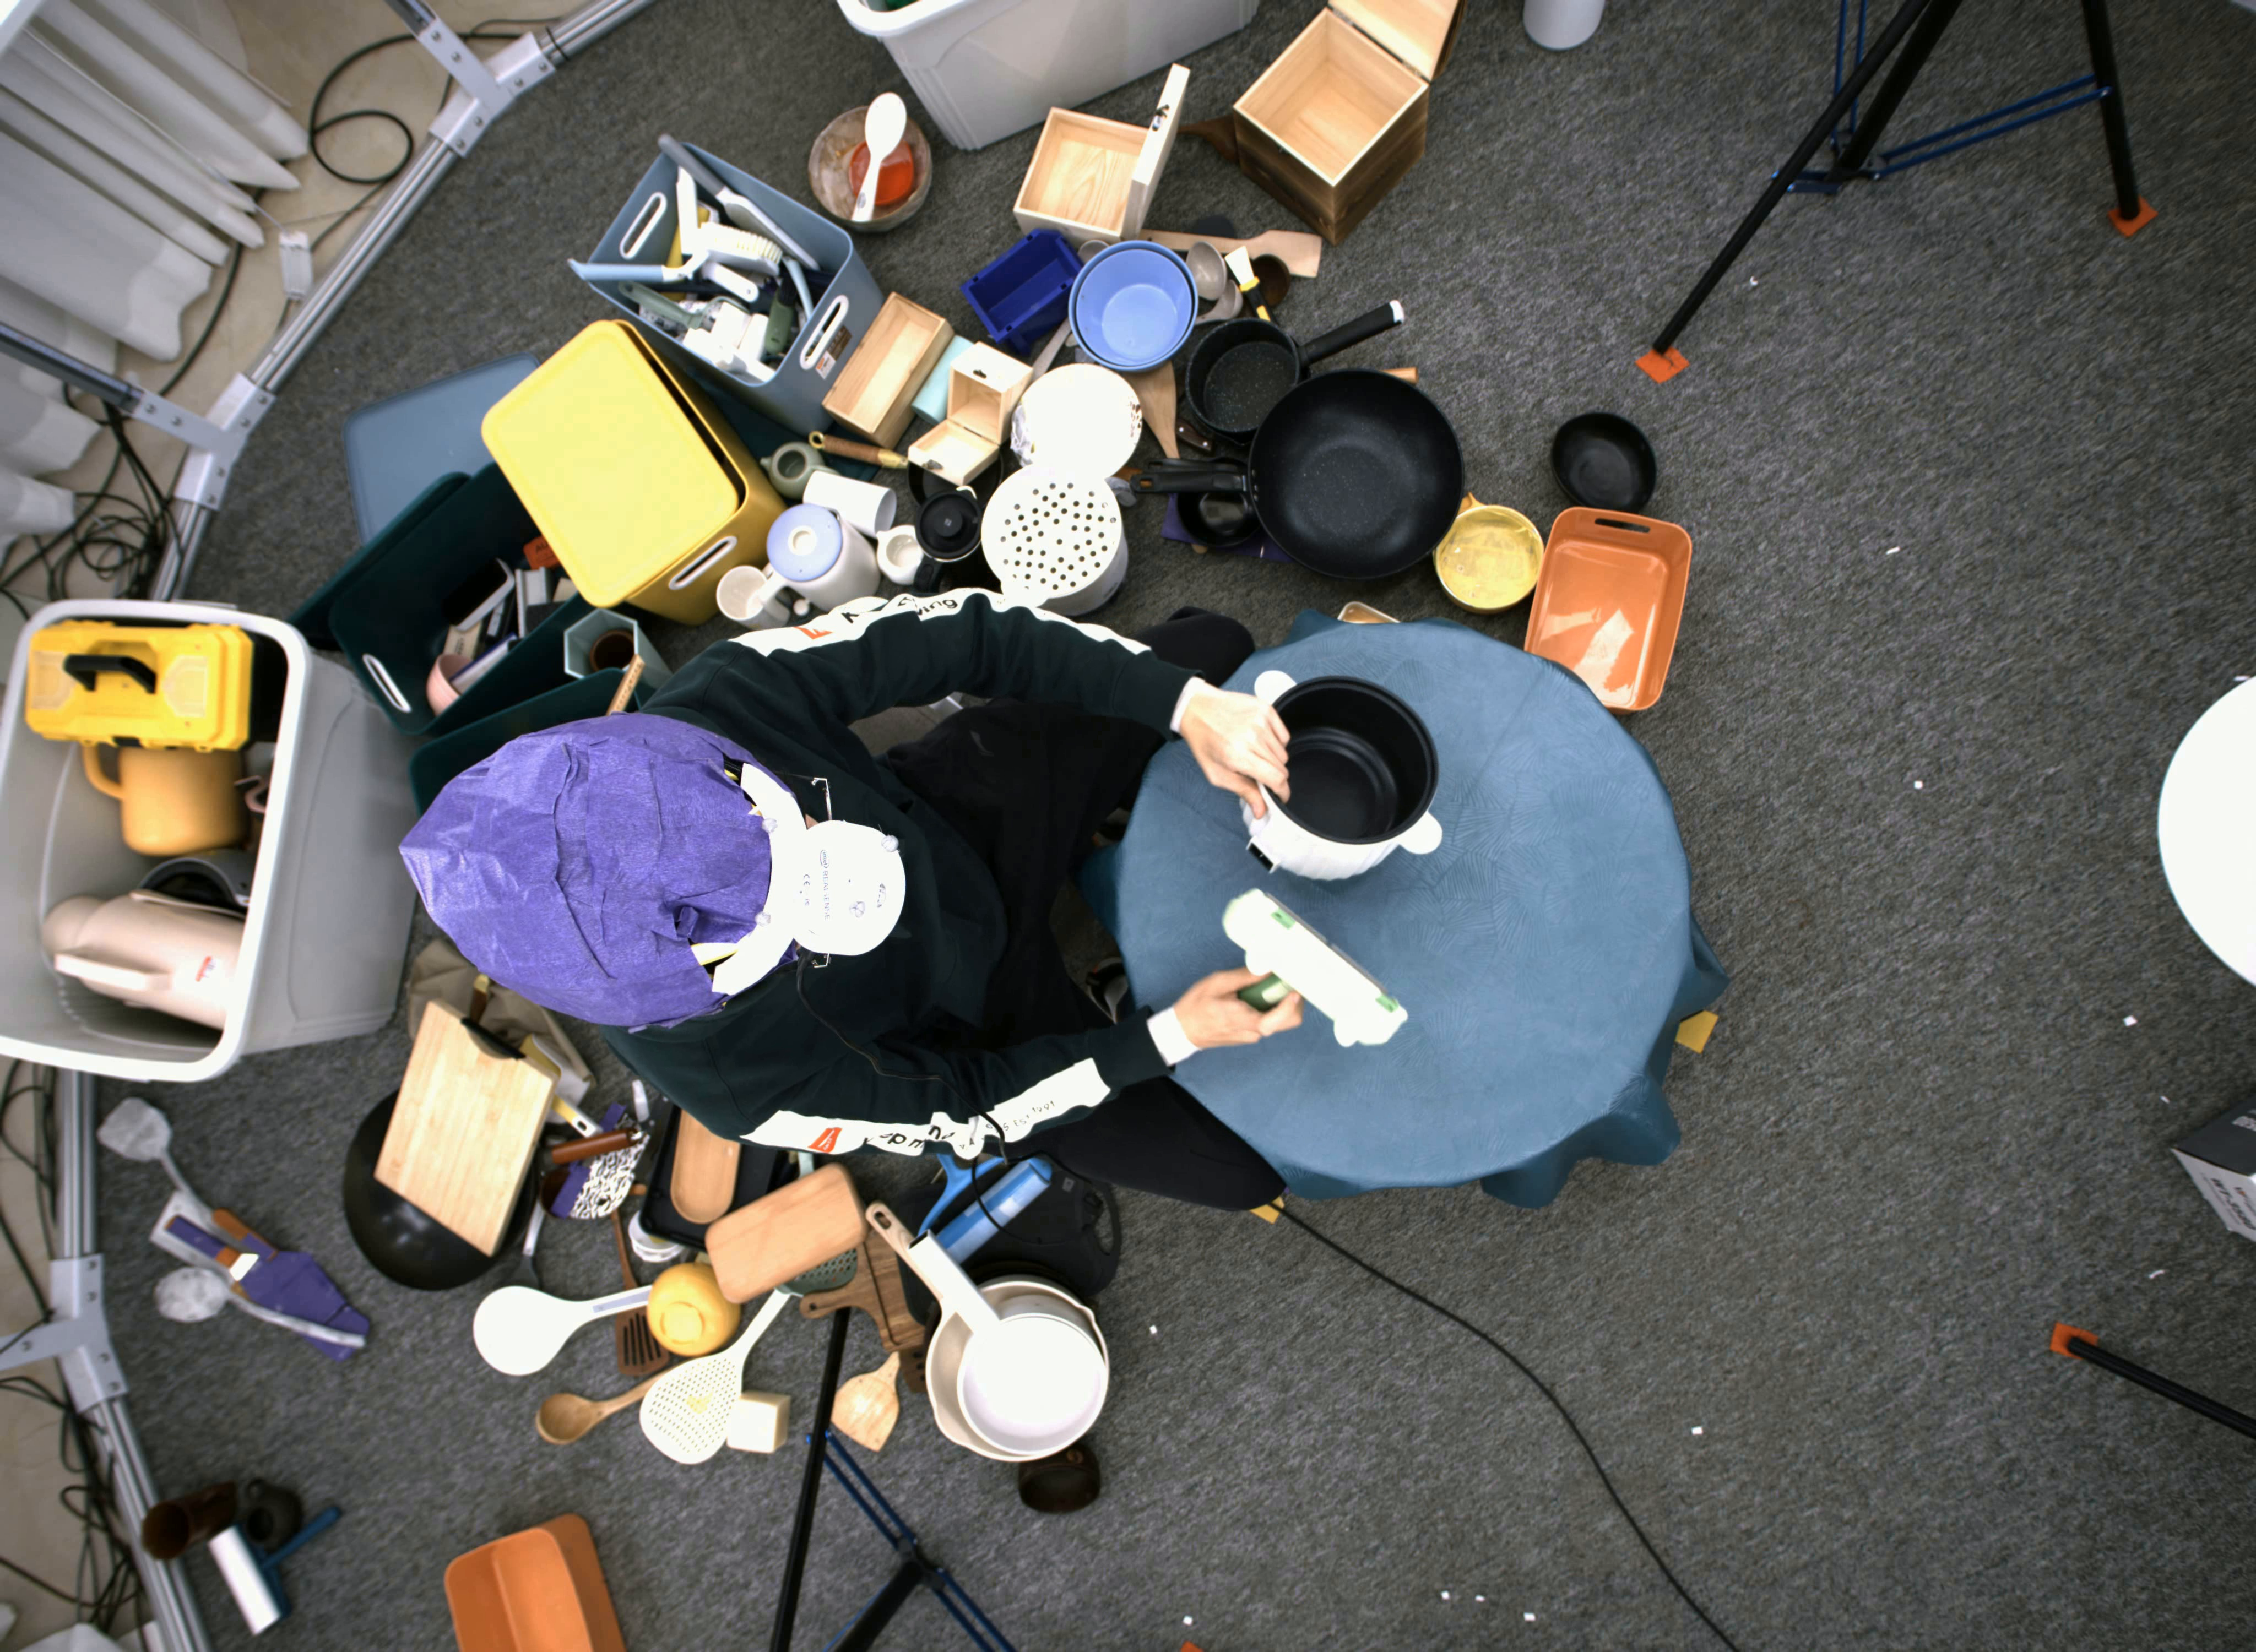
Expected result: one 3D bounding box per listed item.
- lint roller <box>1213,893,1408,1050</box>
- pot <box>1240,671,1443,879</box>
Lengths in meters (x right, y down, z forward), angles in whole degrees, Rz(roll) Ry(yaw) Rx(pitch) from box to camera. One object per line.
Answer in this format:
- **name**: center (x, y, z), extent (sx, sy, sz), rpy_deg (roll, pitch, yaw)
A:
- **lint roller**: center (0.142, 0.170, 1.346), extent (0.200, 0.080, 0.187), rpy_deg (39, 129, -16)
- **pot**: center (0.207, -0.046, 1.384), extent (0.188, 0.145, 0.239), rpy_deg (-41, 80, -16)
